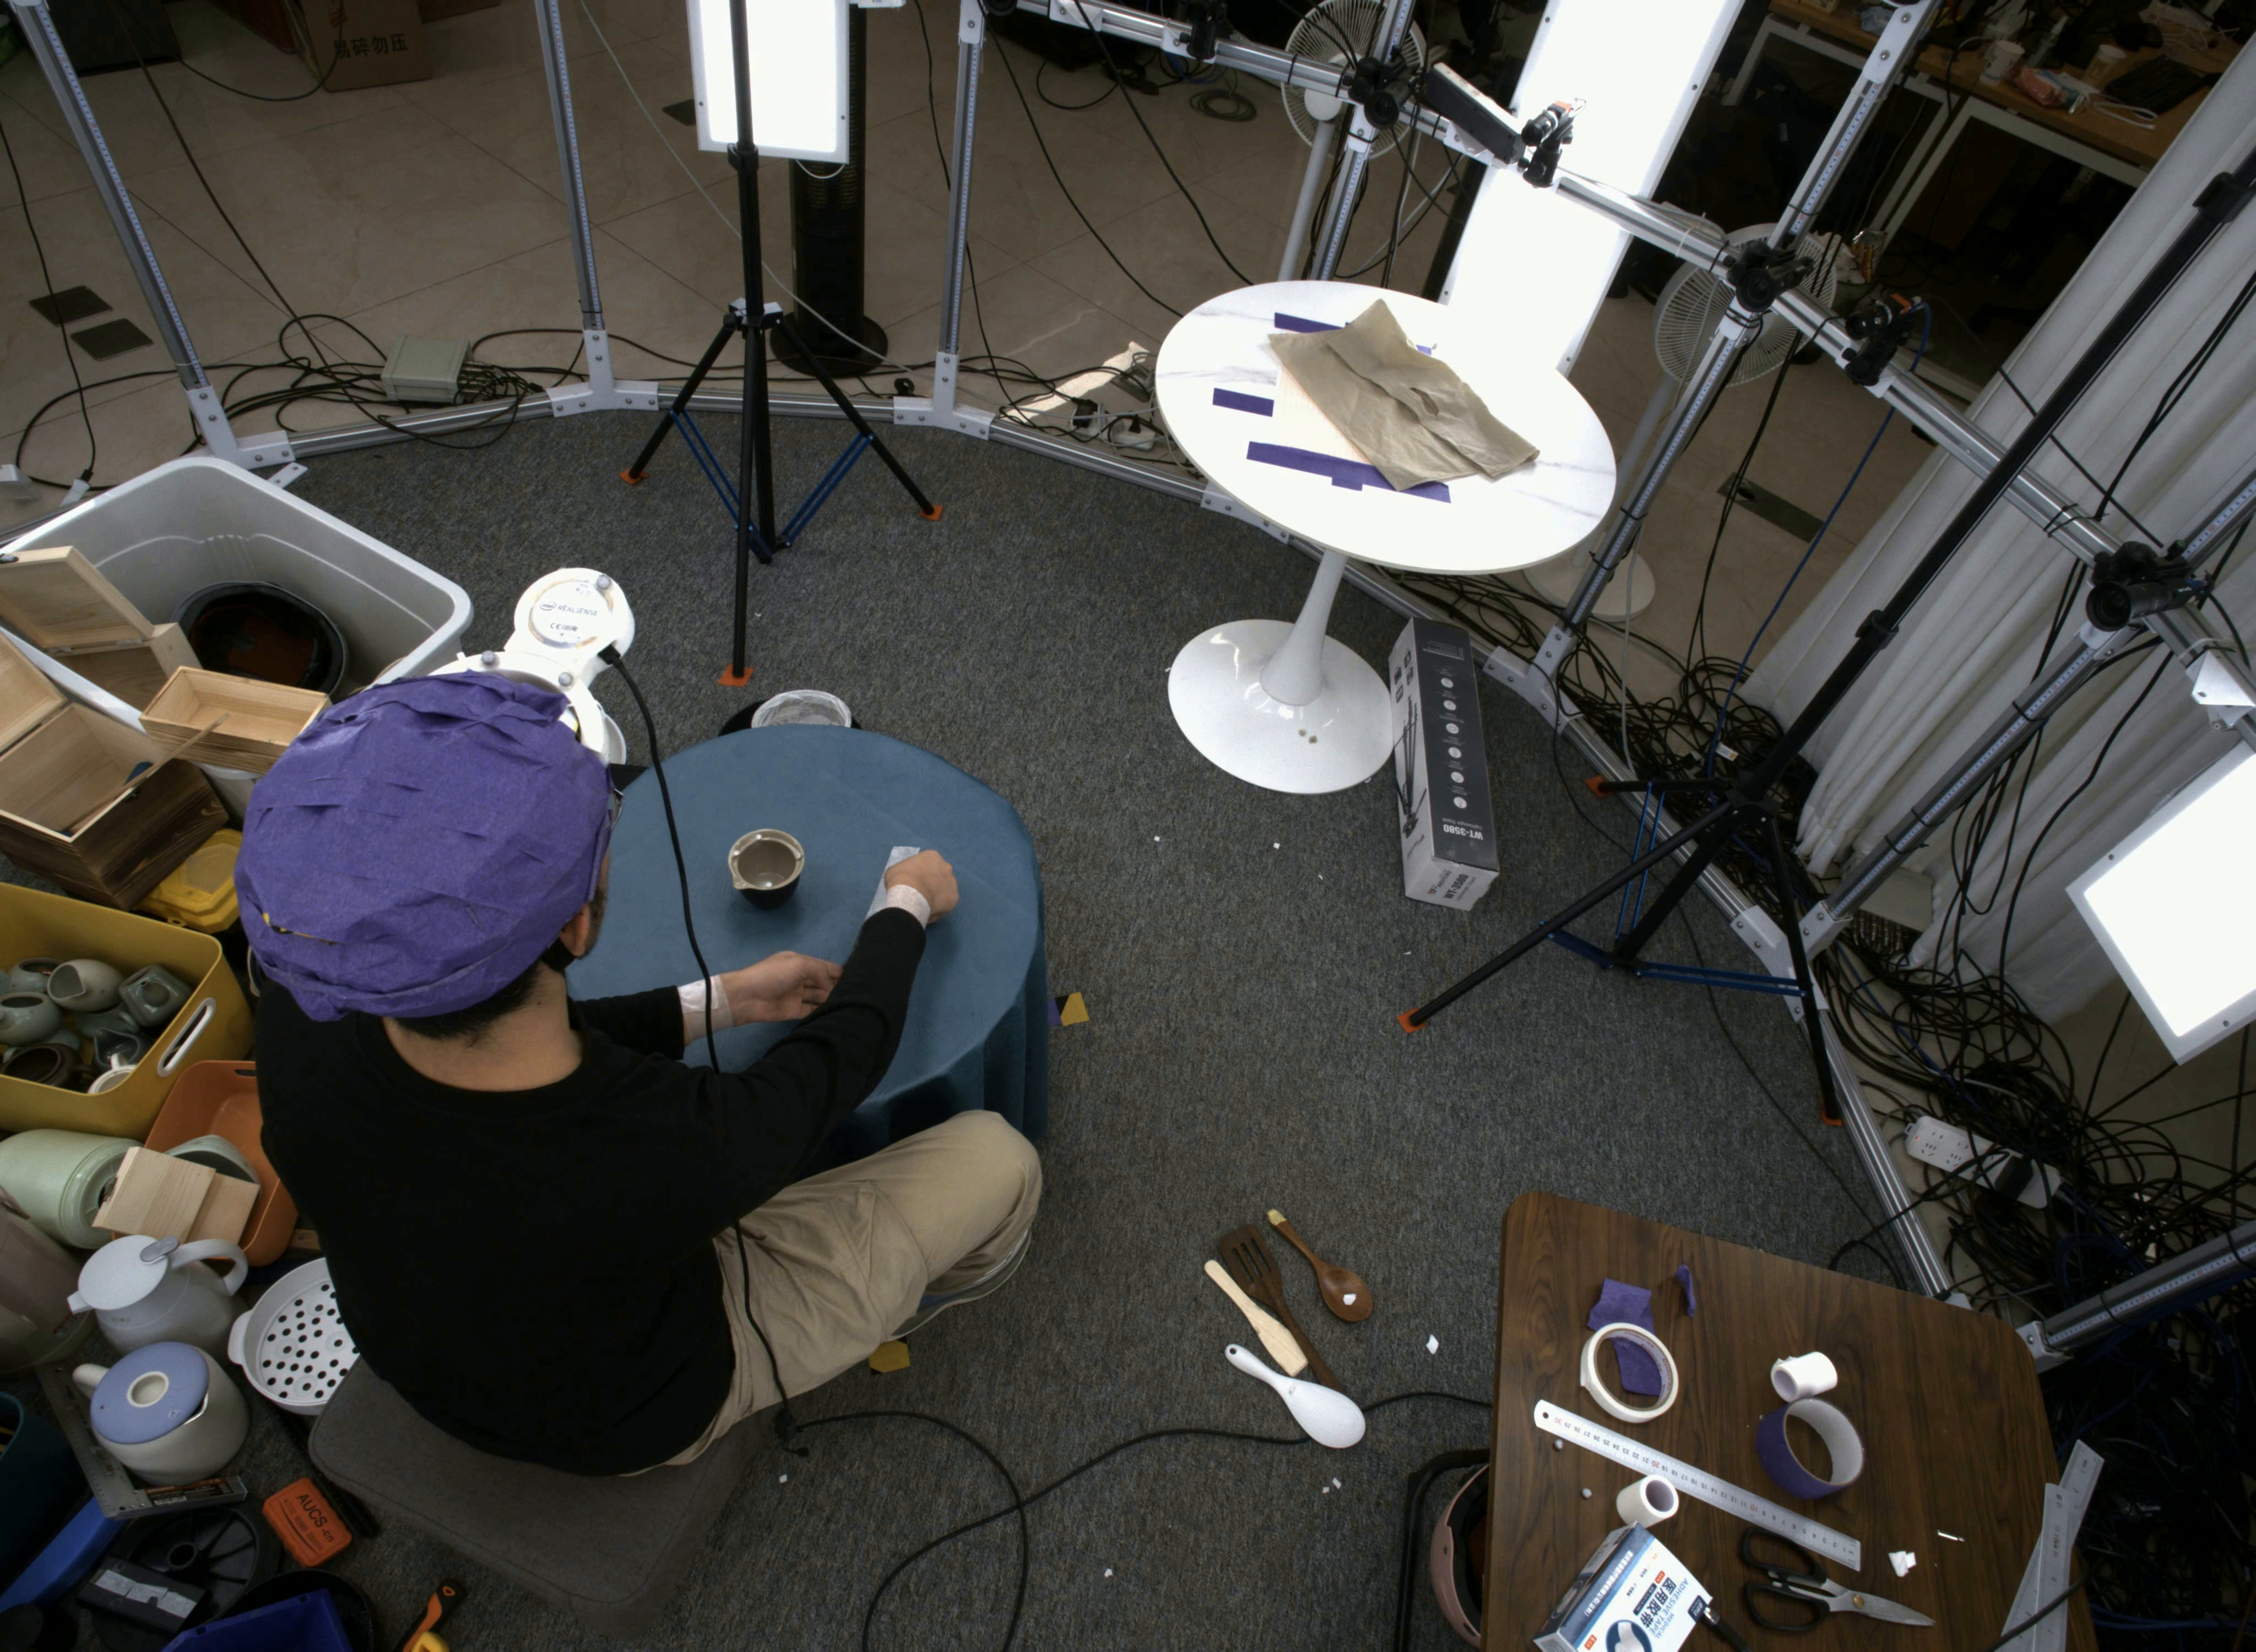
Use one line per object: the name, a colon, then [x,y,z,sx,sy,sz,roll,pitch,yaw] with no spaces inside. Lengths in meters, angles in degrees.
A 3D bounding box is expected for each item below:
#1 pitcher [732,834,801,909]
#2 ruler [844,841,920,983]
pitcher: [-0.454,0.063,1.616,0.082,0.073,0.096,32,52,11]
ruler: [-0.314,0.100,1.652,0.038,0.025,0.215,11,53,4]
